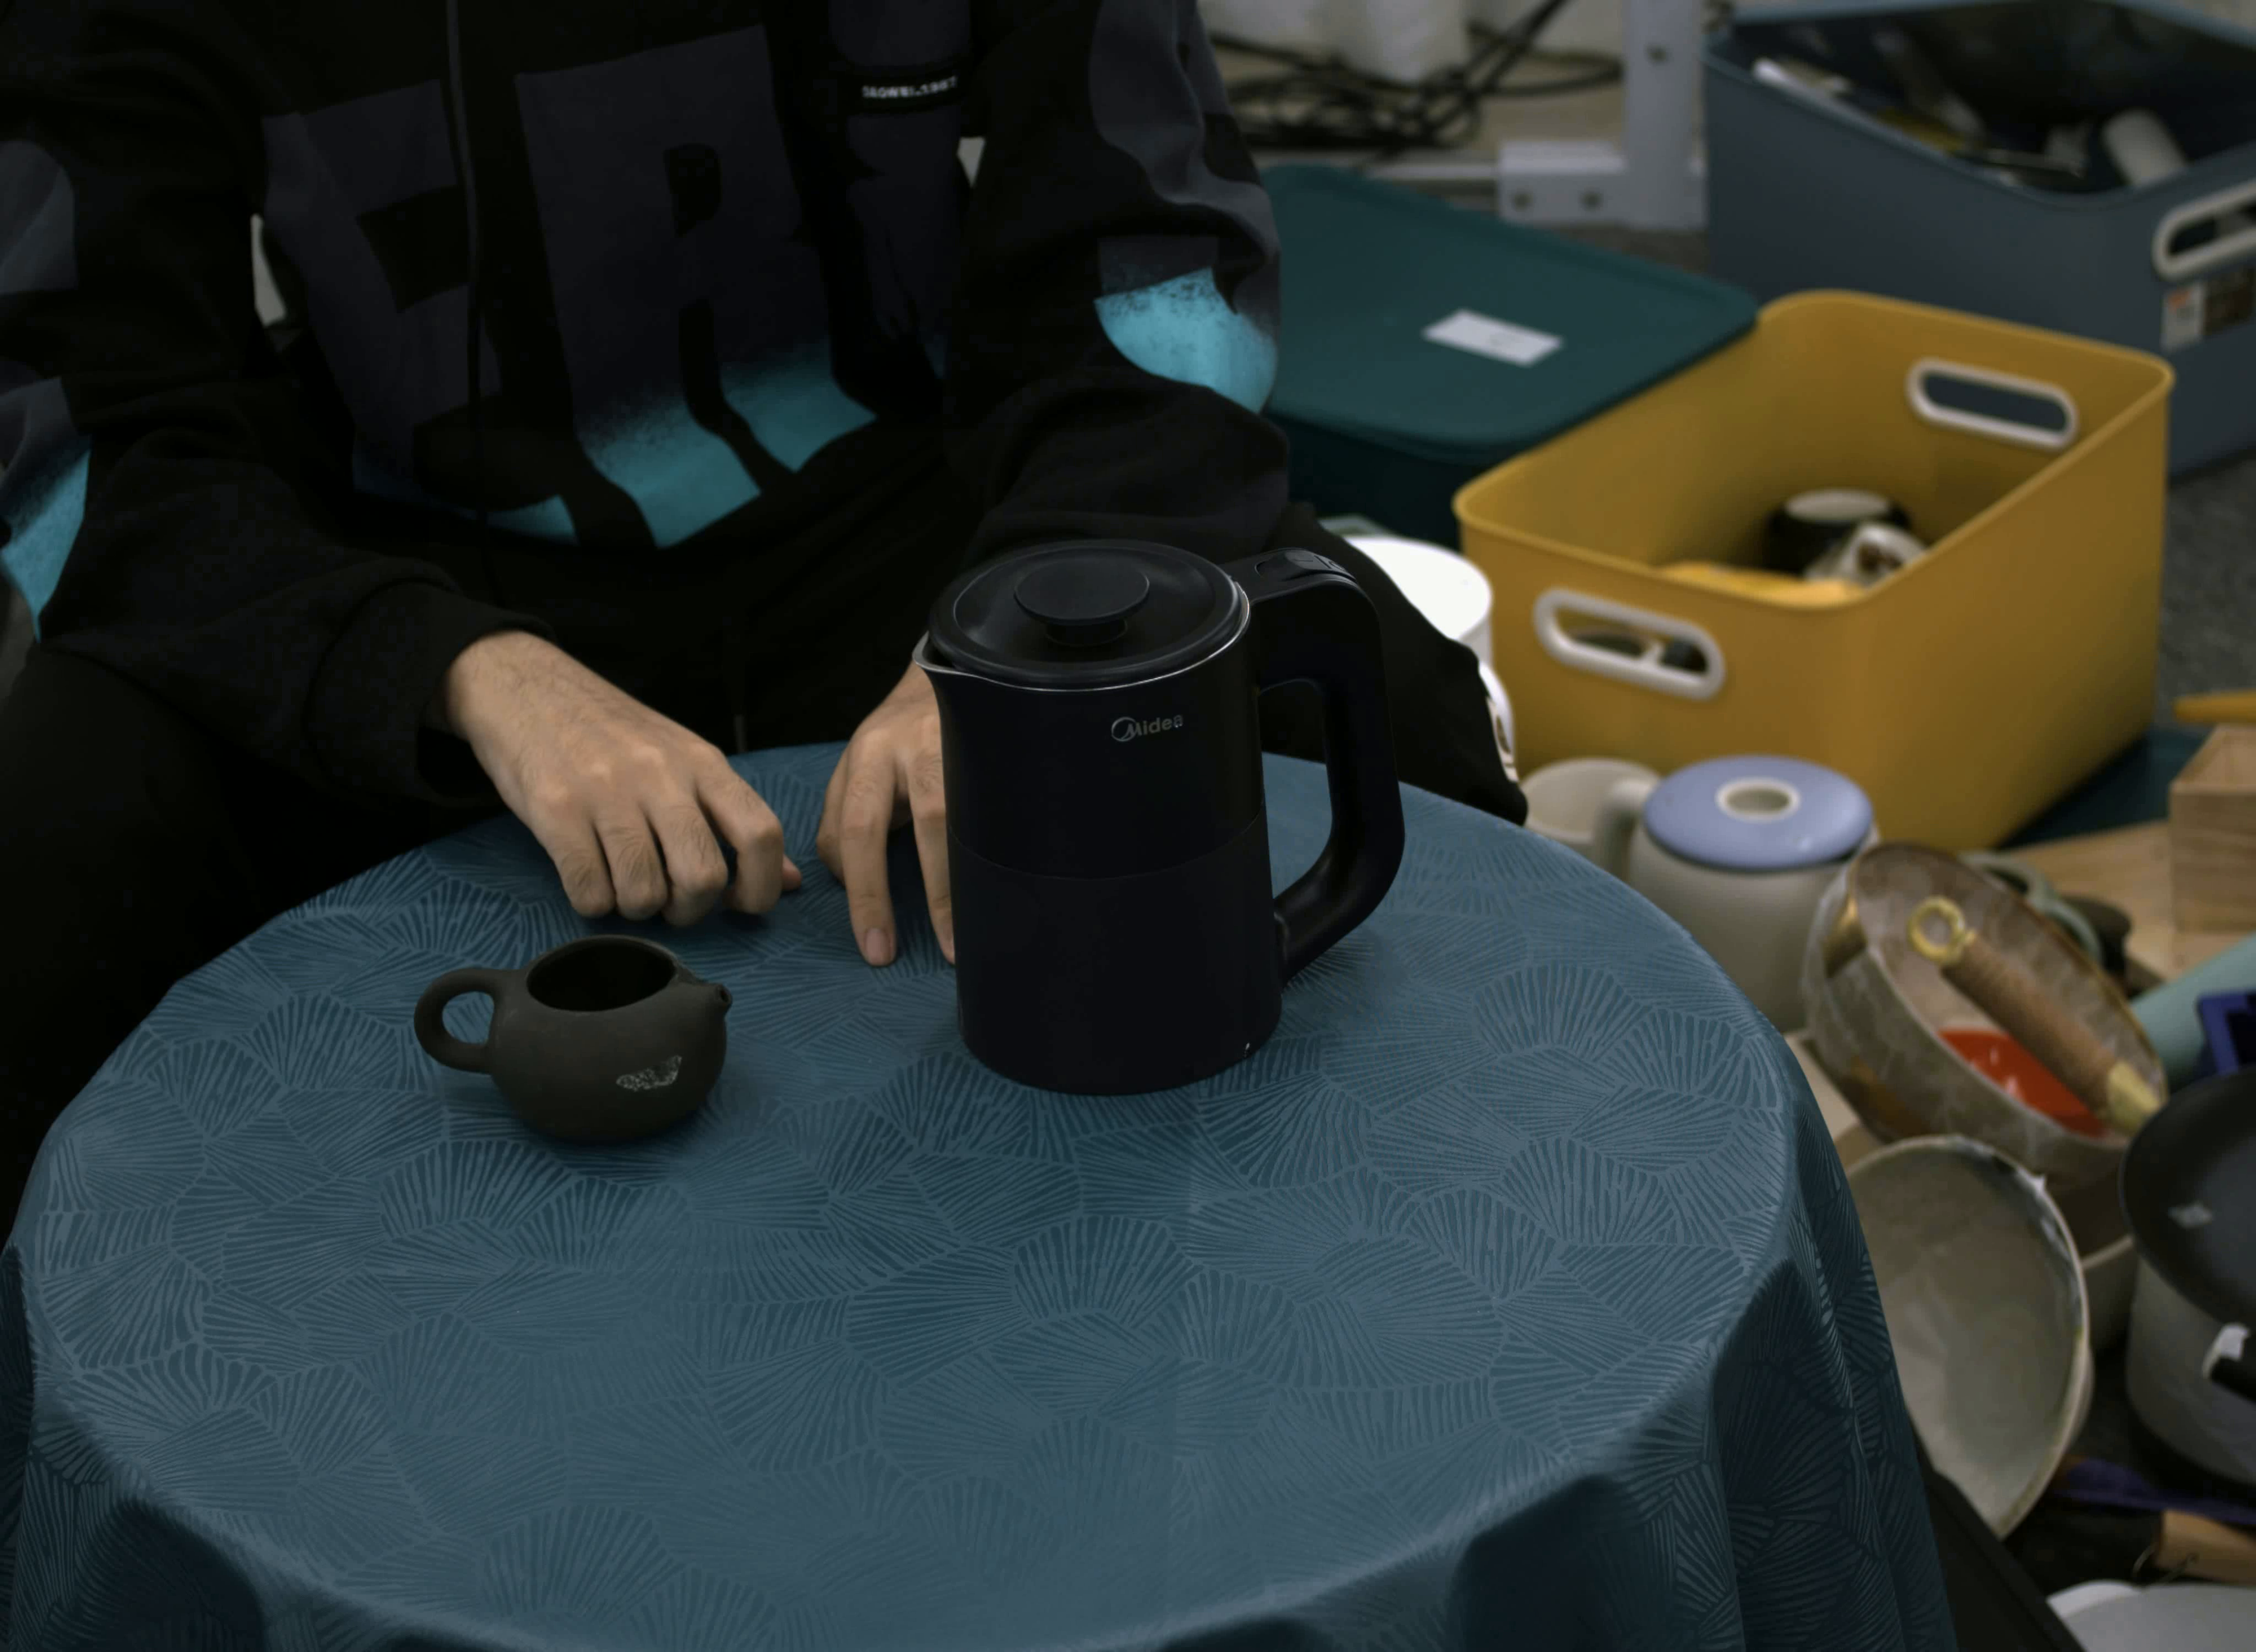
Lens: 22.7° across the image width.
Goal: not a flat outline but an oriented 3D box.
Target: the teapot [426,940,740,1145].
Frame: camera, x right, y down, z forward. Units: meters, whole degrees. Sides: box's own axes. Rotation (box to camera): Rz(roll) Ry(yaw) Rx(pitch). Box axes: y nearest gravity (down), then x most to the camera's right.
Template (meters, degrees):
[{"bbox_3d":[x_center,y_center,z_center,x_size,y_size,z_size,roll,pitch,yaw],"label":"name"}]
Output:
[{"bbox_3d":[-0.187,0.072,1.920,0.113,0.052,0.084,8,28,15],"label":"teapot"}]

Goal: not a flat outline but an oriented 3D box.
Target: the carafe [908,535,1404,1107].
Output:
[{"bbox_3d":[0.012,-0.014,1.936,0.172,0.171,0.115,-17,28,-21],"label":"carafe"}]
